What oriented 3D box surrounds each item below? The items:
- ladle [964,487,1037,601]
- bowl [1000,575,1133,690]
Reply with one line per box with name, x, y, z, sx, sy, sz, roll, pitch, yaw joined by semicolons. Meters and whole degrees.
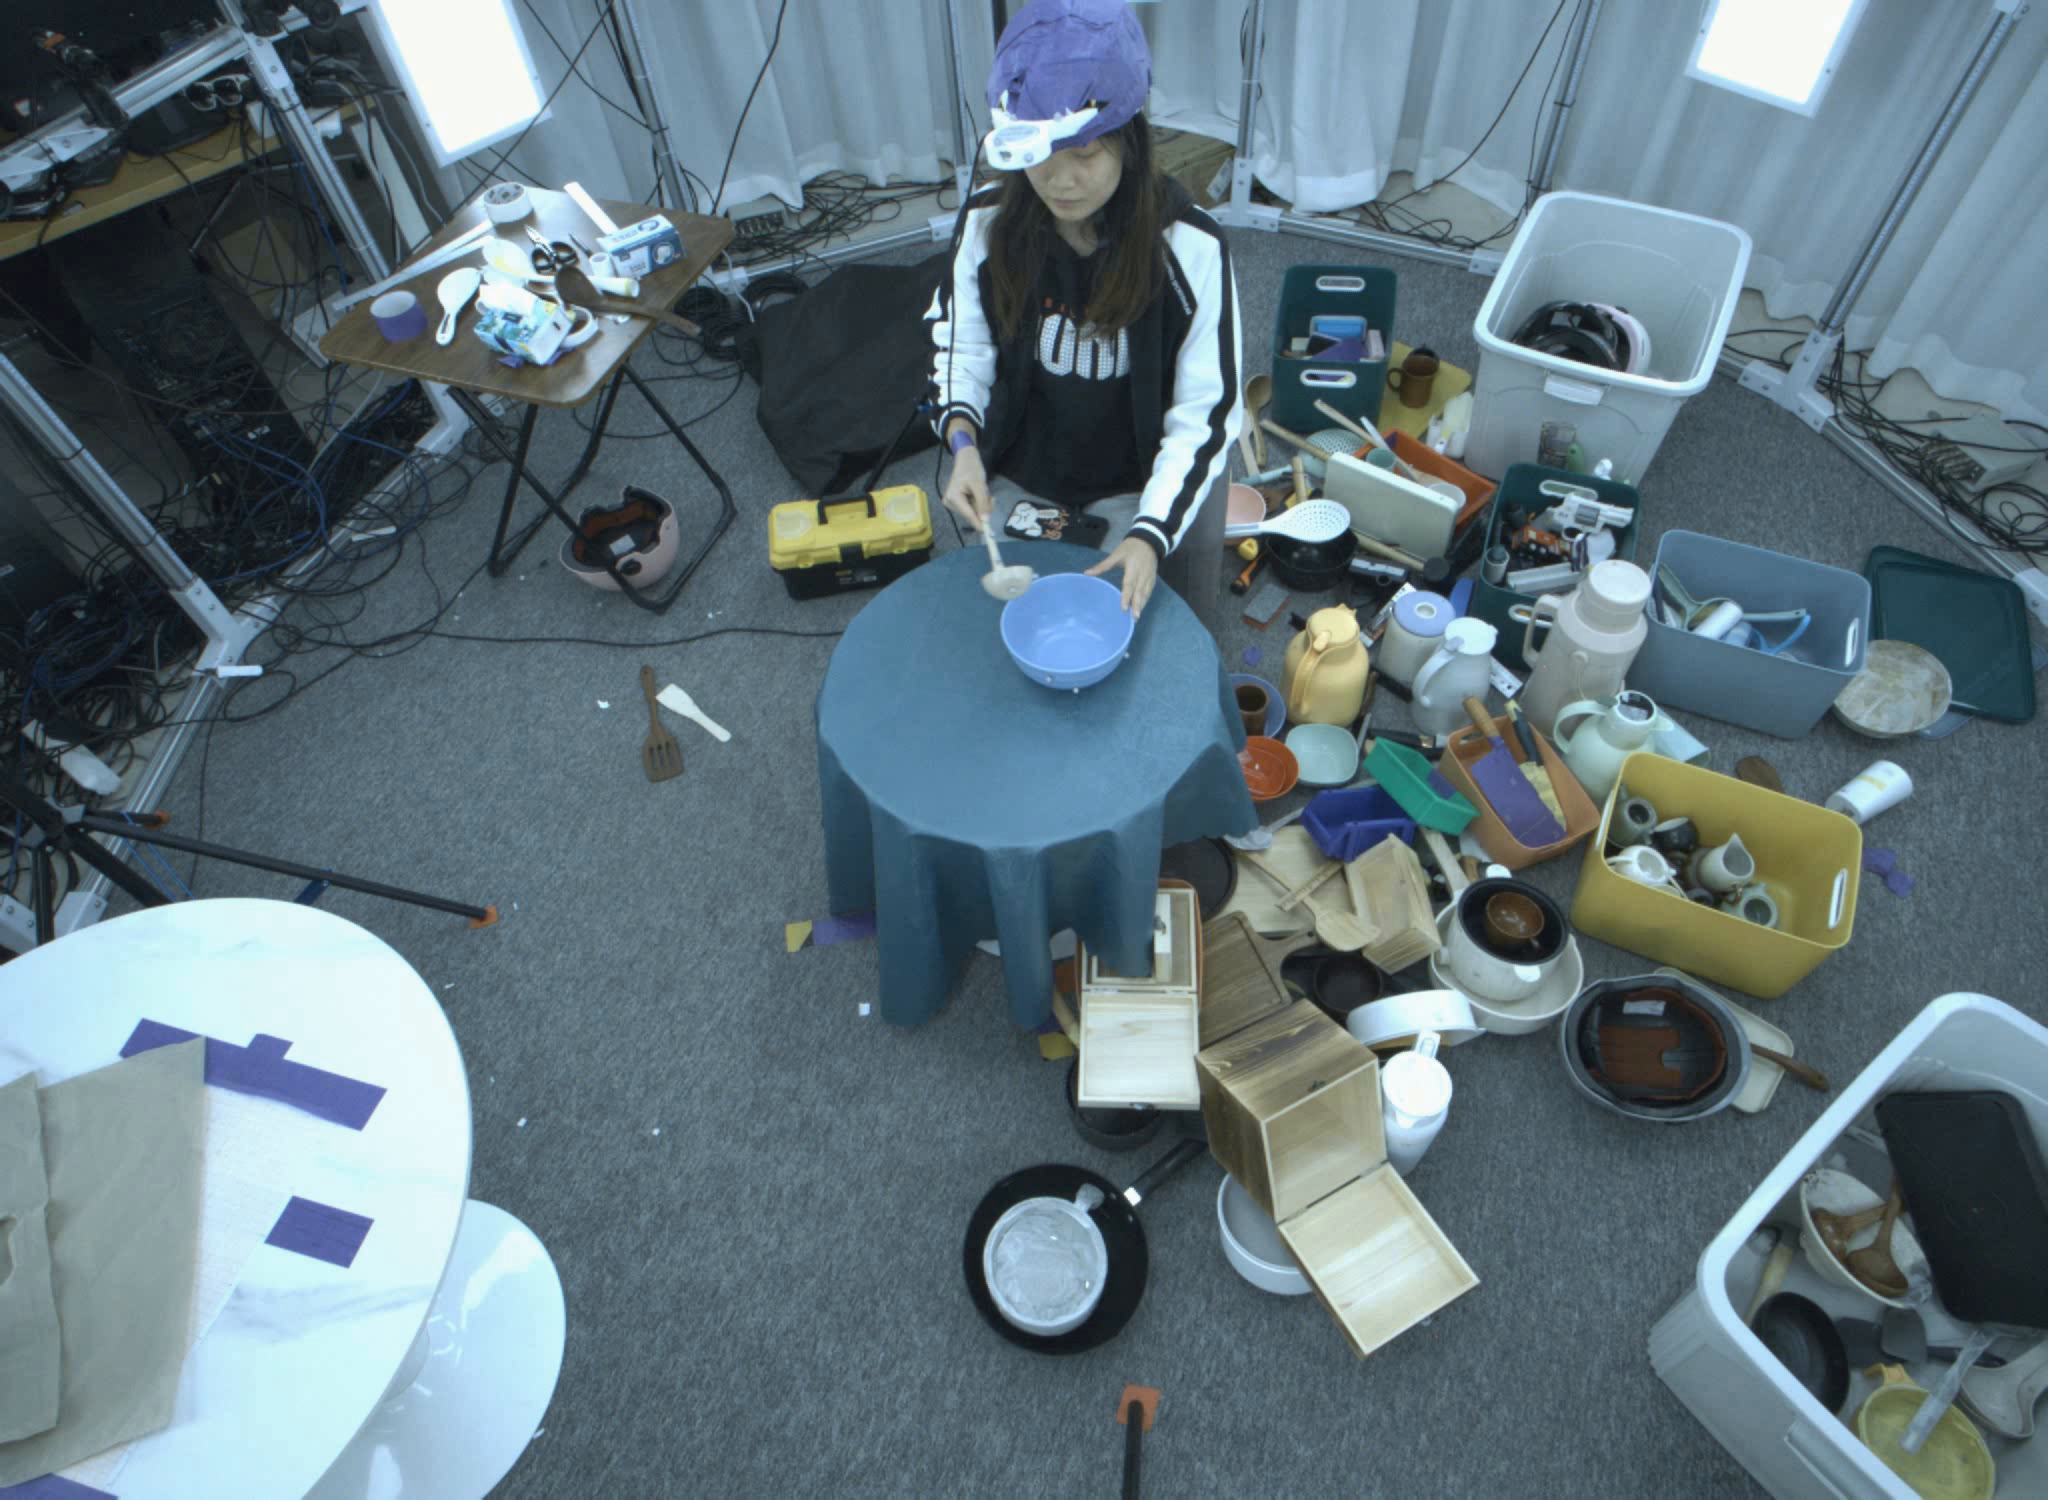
ladle;-0.048;-0.320;1.764;0.073;0.073;0.250;-14;58;-12
bowl;0.066;-0.161;1.845;0.196;0.096;0.194;-2;54;3
